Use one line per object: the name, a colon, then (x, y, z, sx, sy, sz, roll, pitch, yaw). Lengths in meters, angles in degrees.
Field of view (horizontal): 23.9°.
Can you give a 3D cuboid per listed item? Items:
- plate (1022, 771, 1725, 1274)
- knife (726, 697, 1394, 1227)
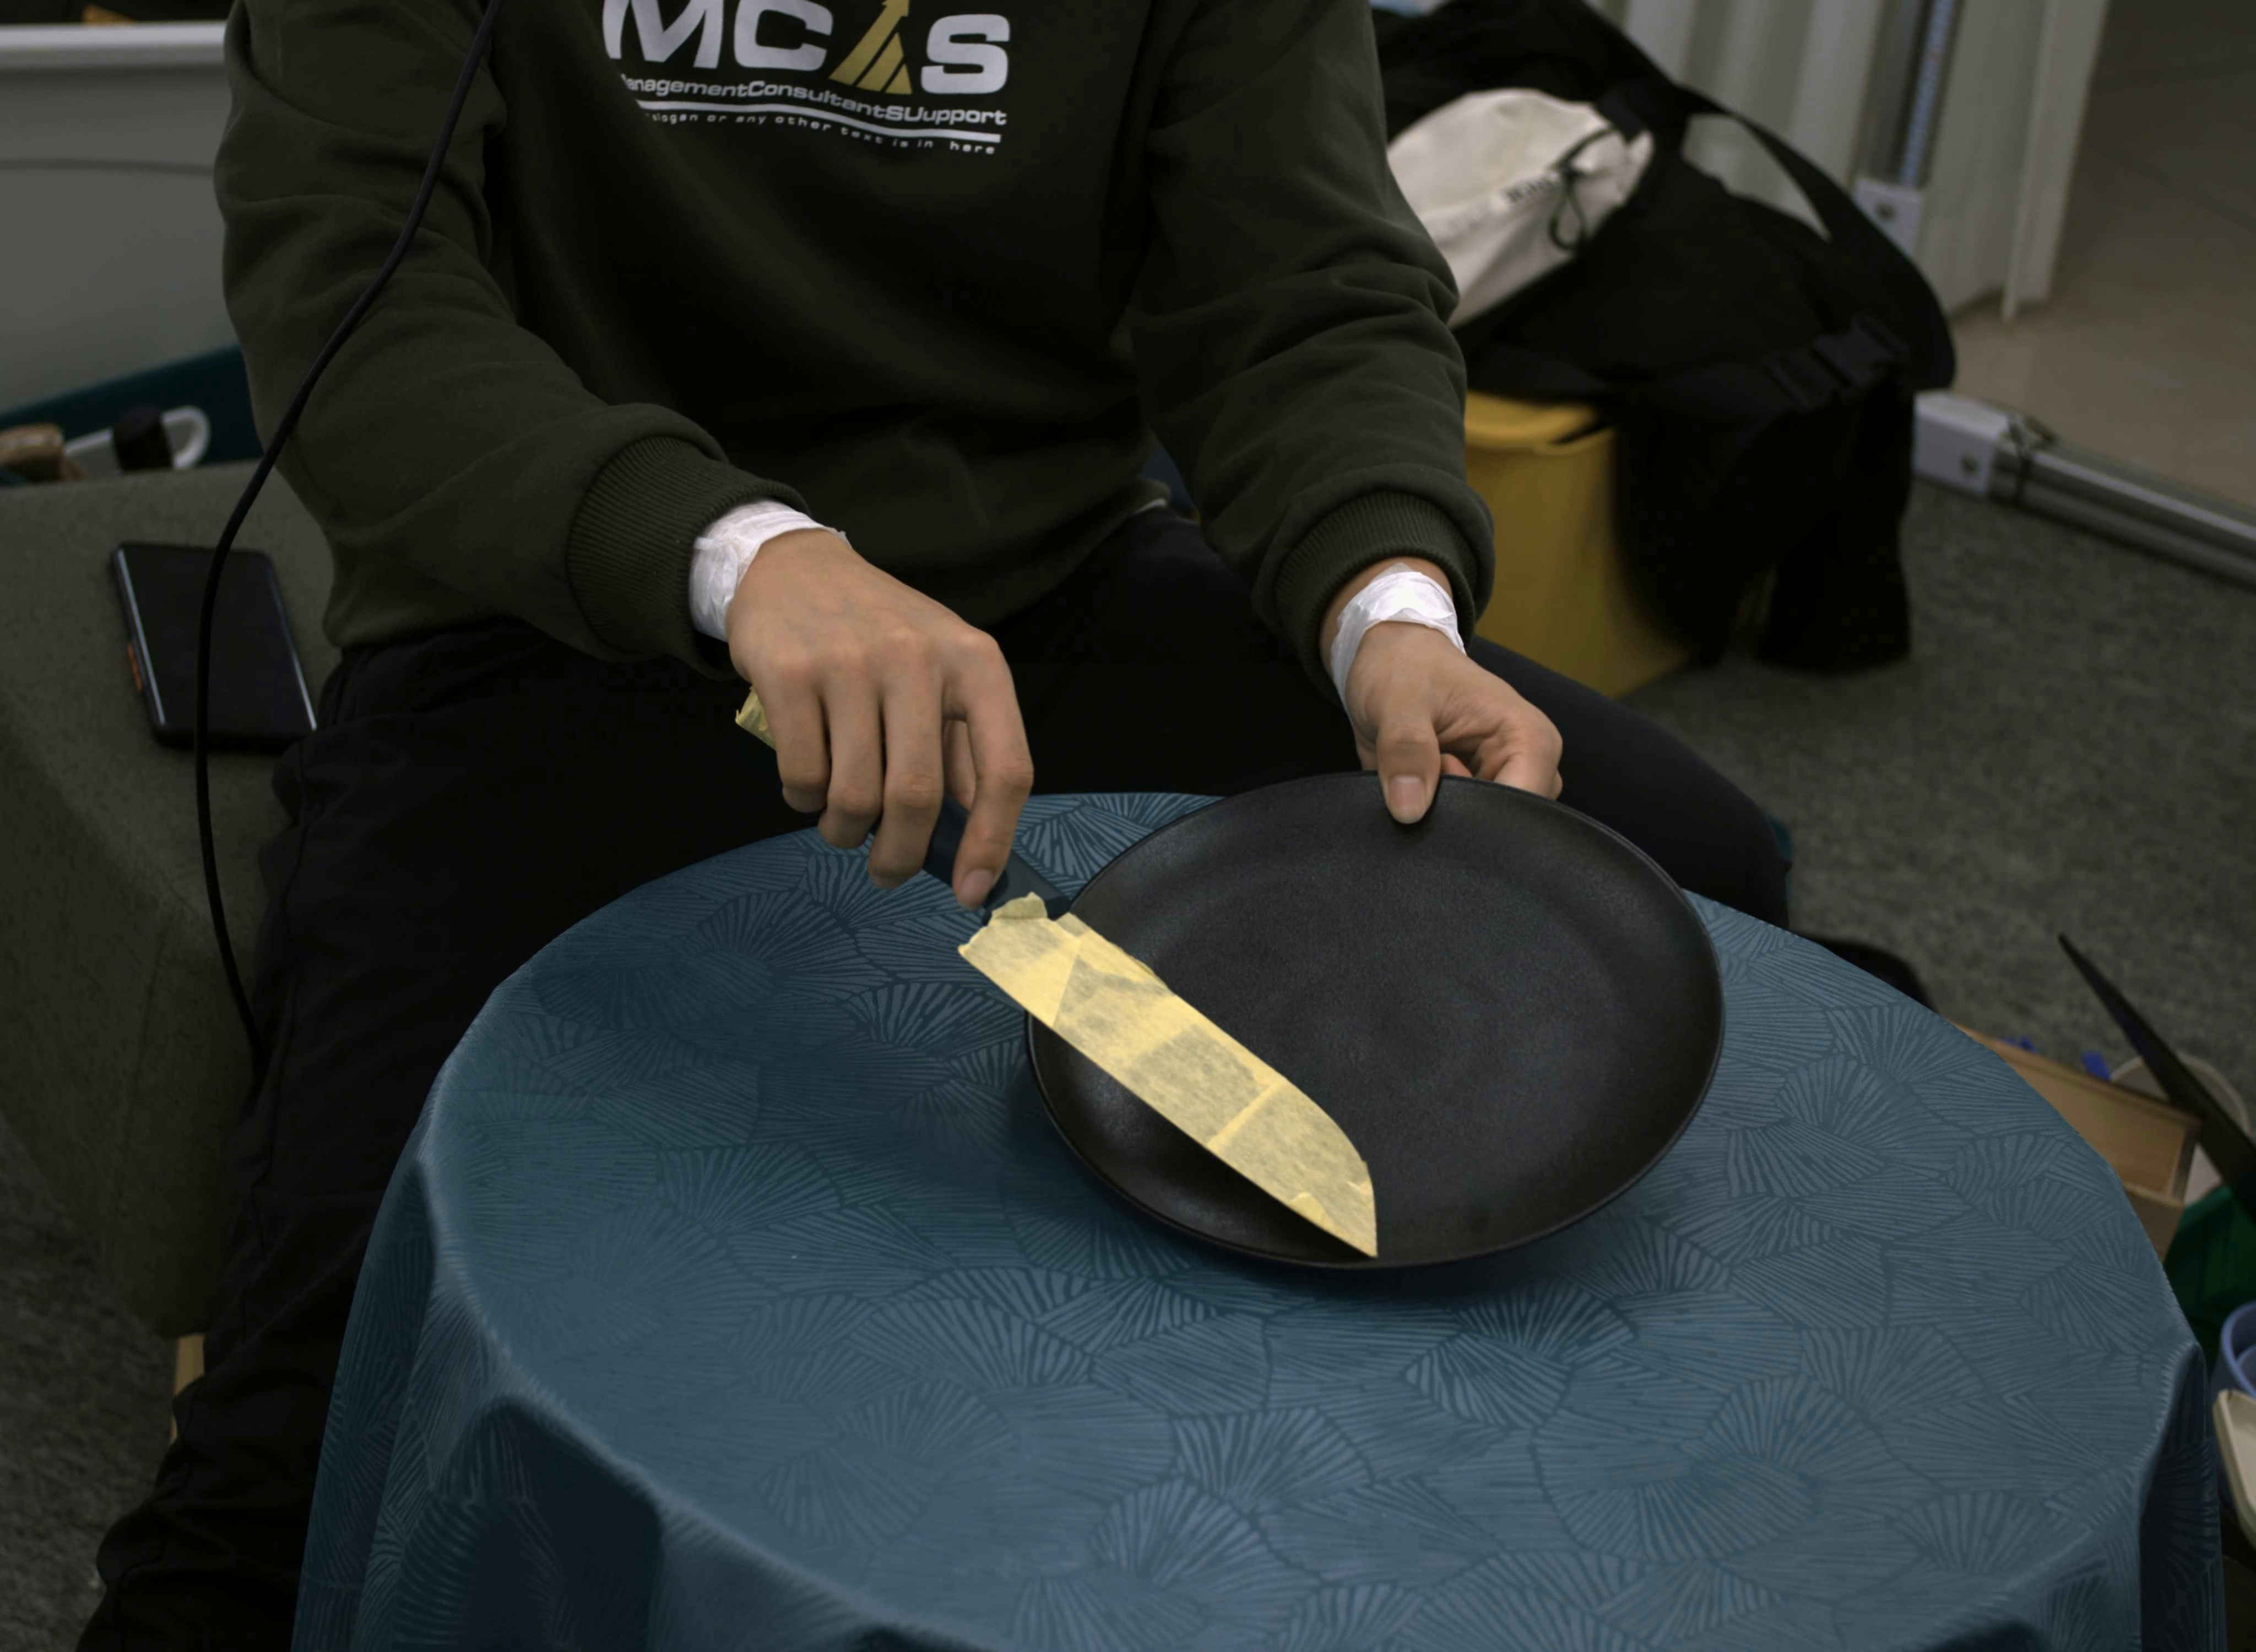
plate: (0.085, 0.071, 1.844, 0.244, 0.023, 0.246, -3, 43, 3)
knife: (-0.026, 0.048, 1.801, 0.290, 0.027, 0.081, 37, 24, 13)
